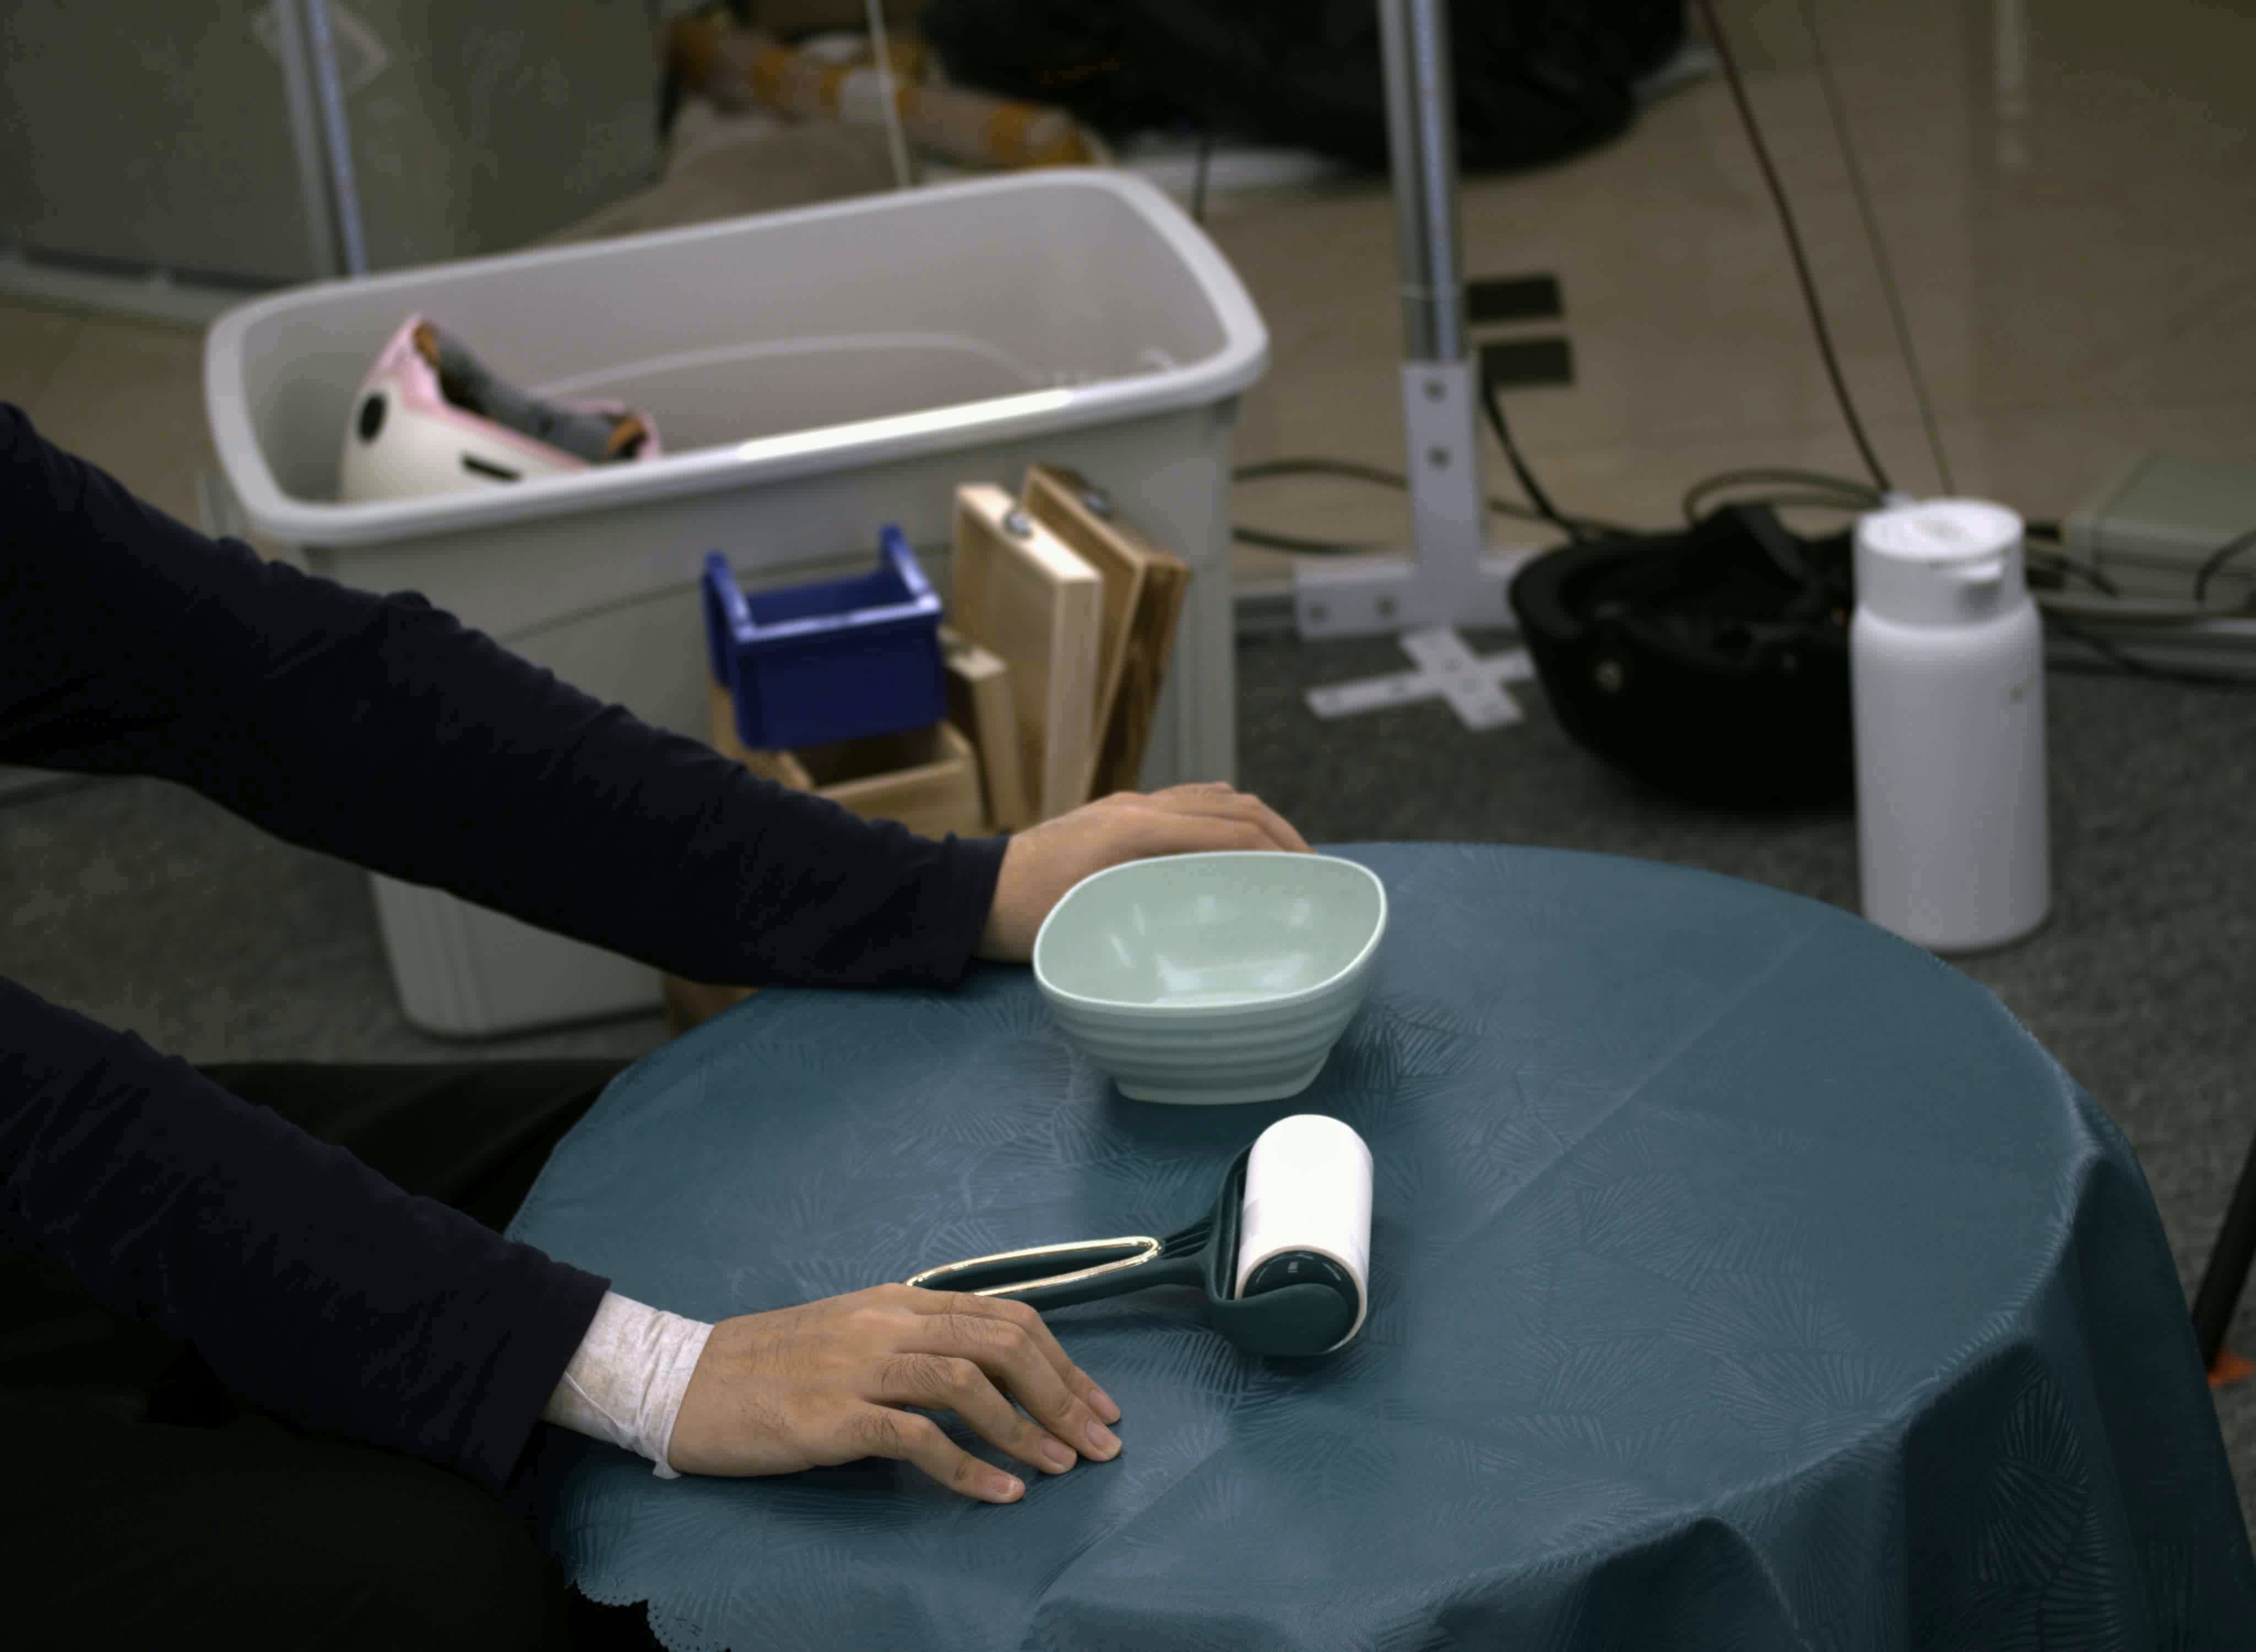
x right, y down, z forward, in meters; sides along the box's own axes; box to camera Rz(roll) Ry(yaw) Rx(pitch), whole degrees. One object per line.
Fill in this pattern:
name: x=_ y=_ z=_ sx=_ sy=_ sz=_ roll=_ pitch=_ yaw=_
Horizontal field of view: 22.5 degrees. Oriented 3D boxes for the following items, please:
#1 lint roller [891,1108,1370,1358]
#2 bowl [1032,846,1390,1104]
lint roller: x=-0.002 y=0.156 z=2.067 sx=0.180 sy=0.049 sz=0.132 roll=-7 pitch=25 yaw=7
bowl: x=0.034 y=0.064 z=2.235 sx=0.151 sy=0.059 sz=0.149 roll=-3 pitch=27 yaw=2
